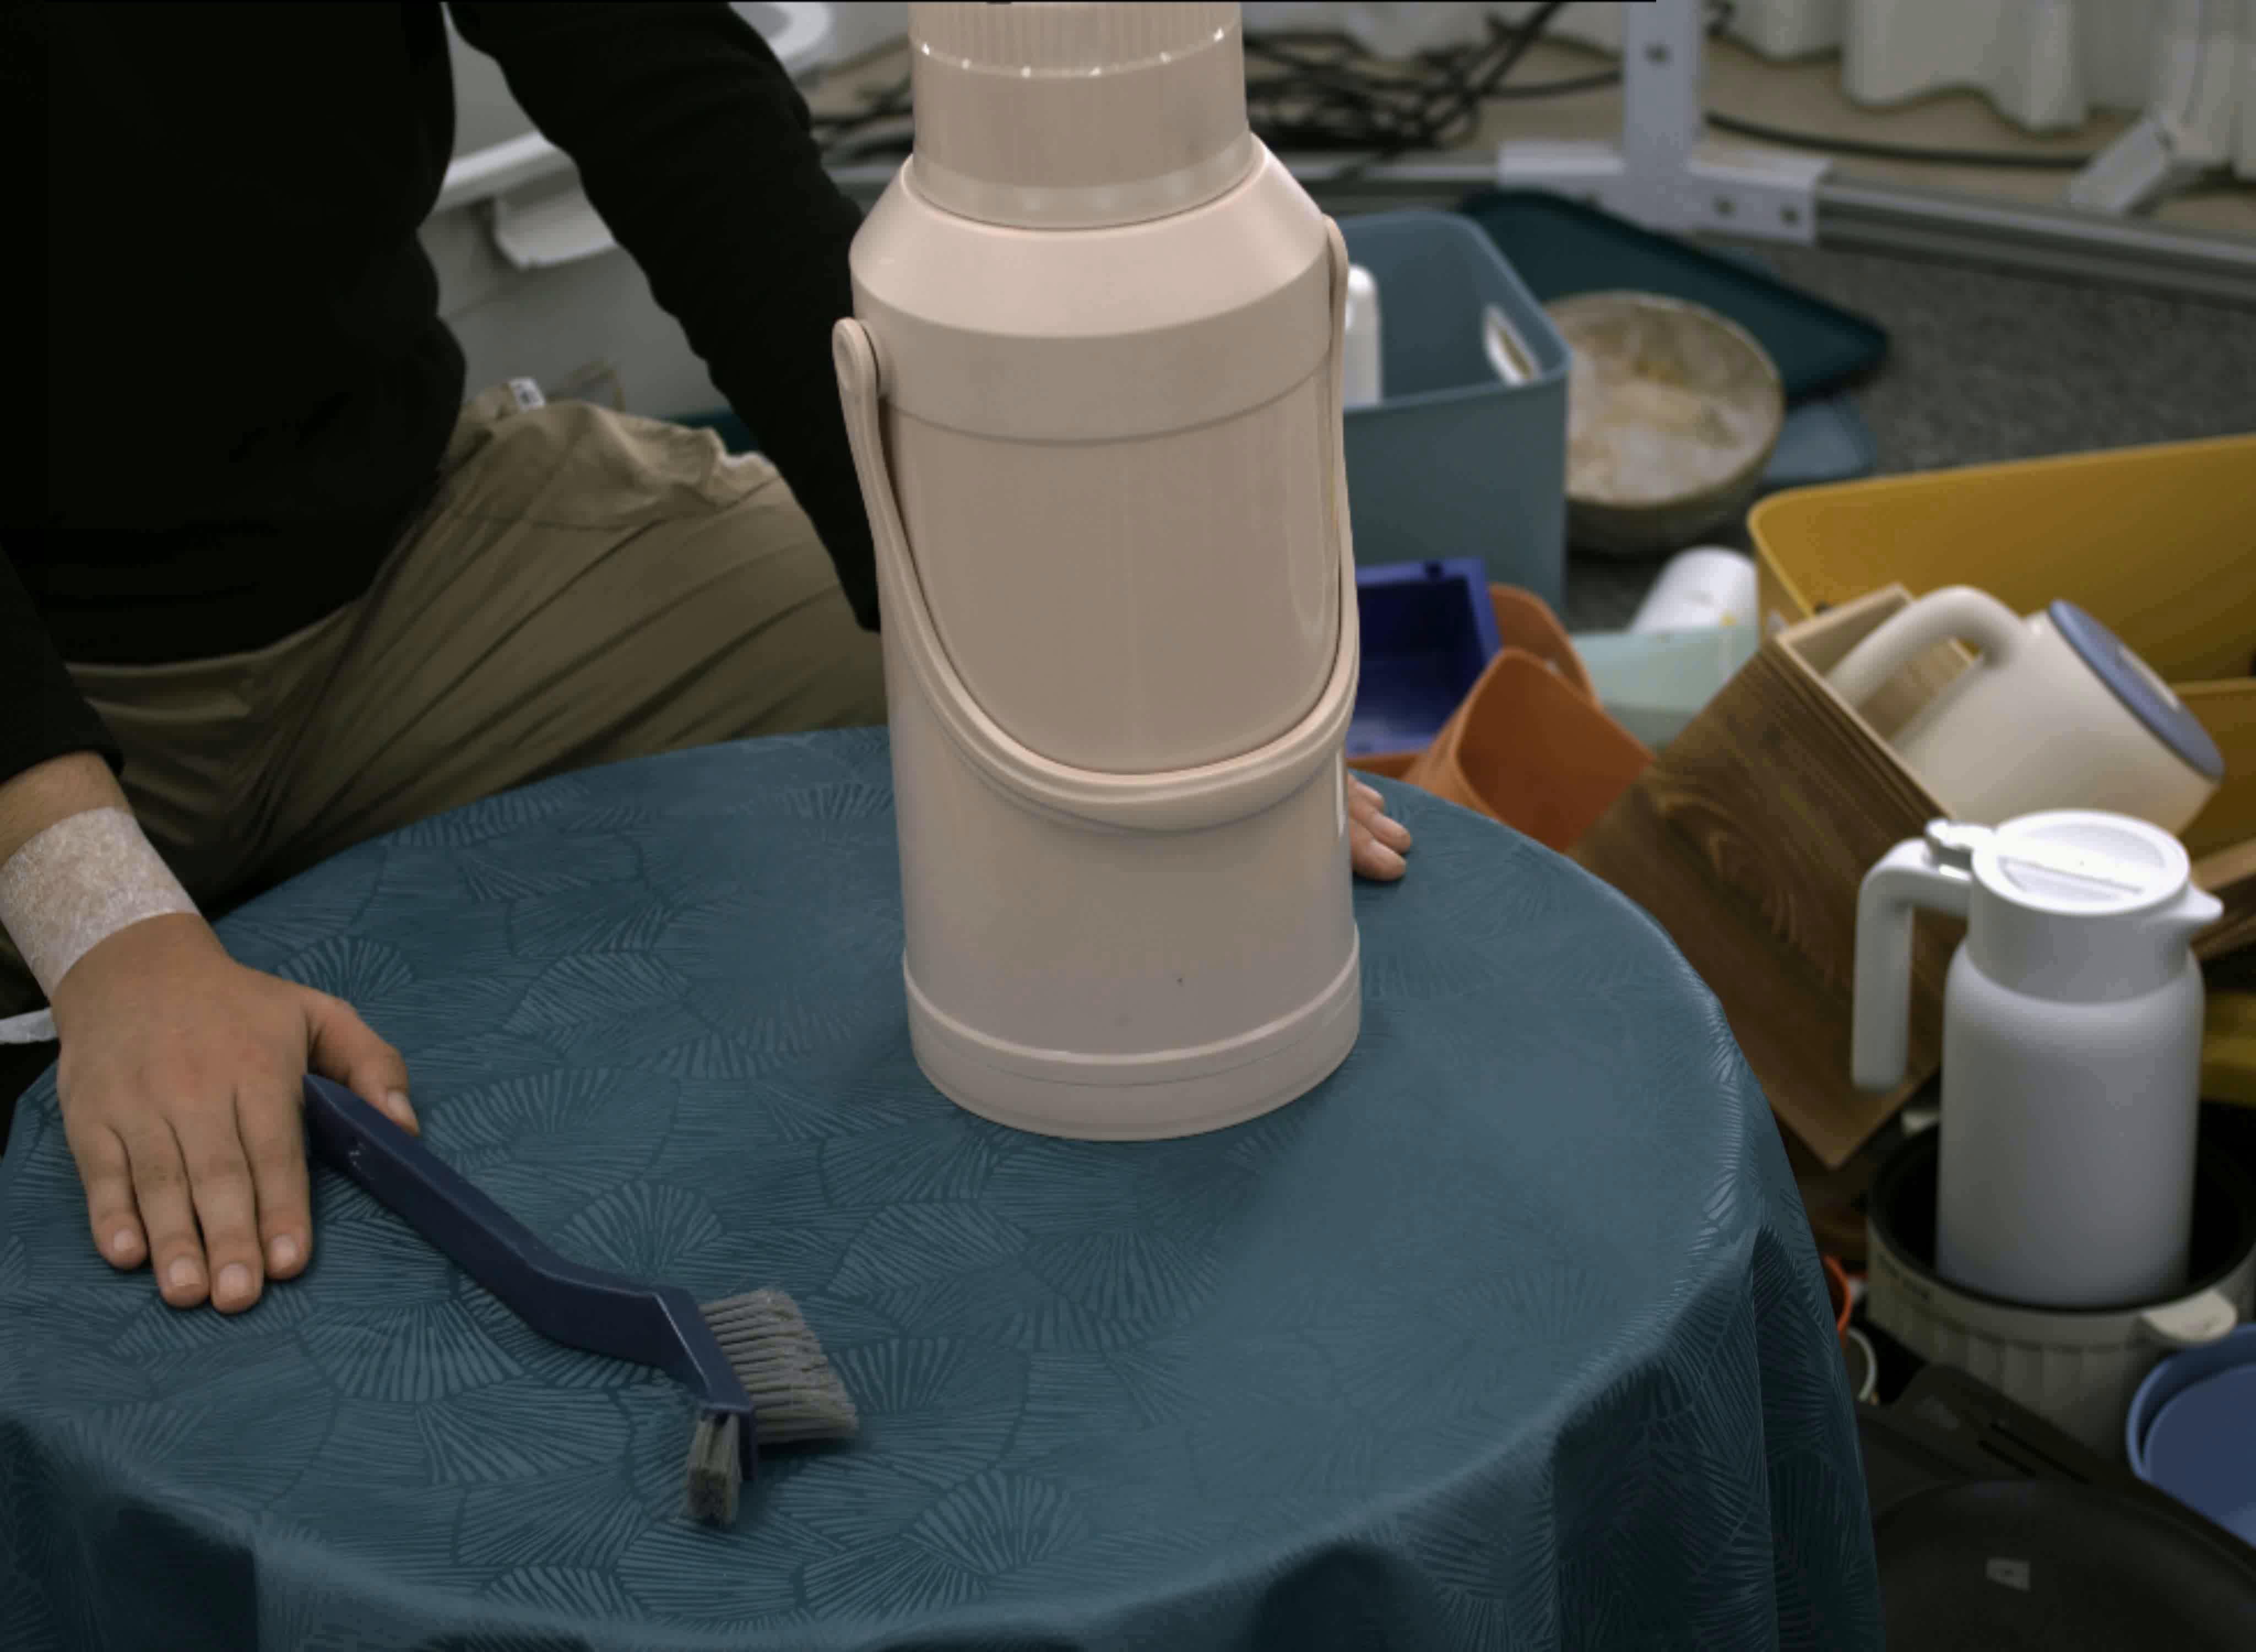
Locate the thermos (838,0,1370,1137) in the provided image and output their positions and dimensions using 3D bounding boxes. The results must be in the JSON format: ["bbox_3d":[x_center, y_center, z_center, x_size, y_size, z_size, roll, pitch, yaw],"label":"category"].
[{"bbox_3d":[-0.010,-0.112,1.888,0.176,0.402,0.208,-16,29,-21],"label":"thermos"}]

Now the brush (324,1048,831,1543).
[{"bbox_3d":[-0.196,0.146,1.798,0.097,0.033,0.273,-25,37,-38],"label":"brush"}]
